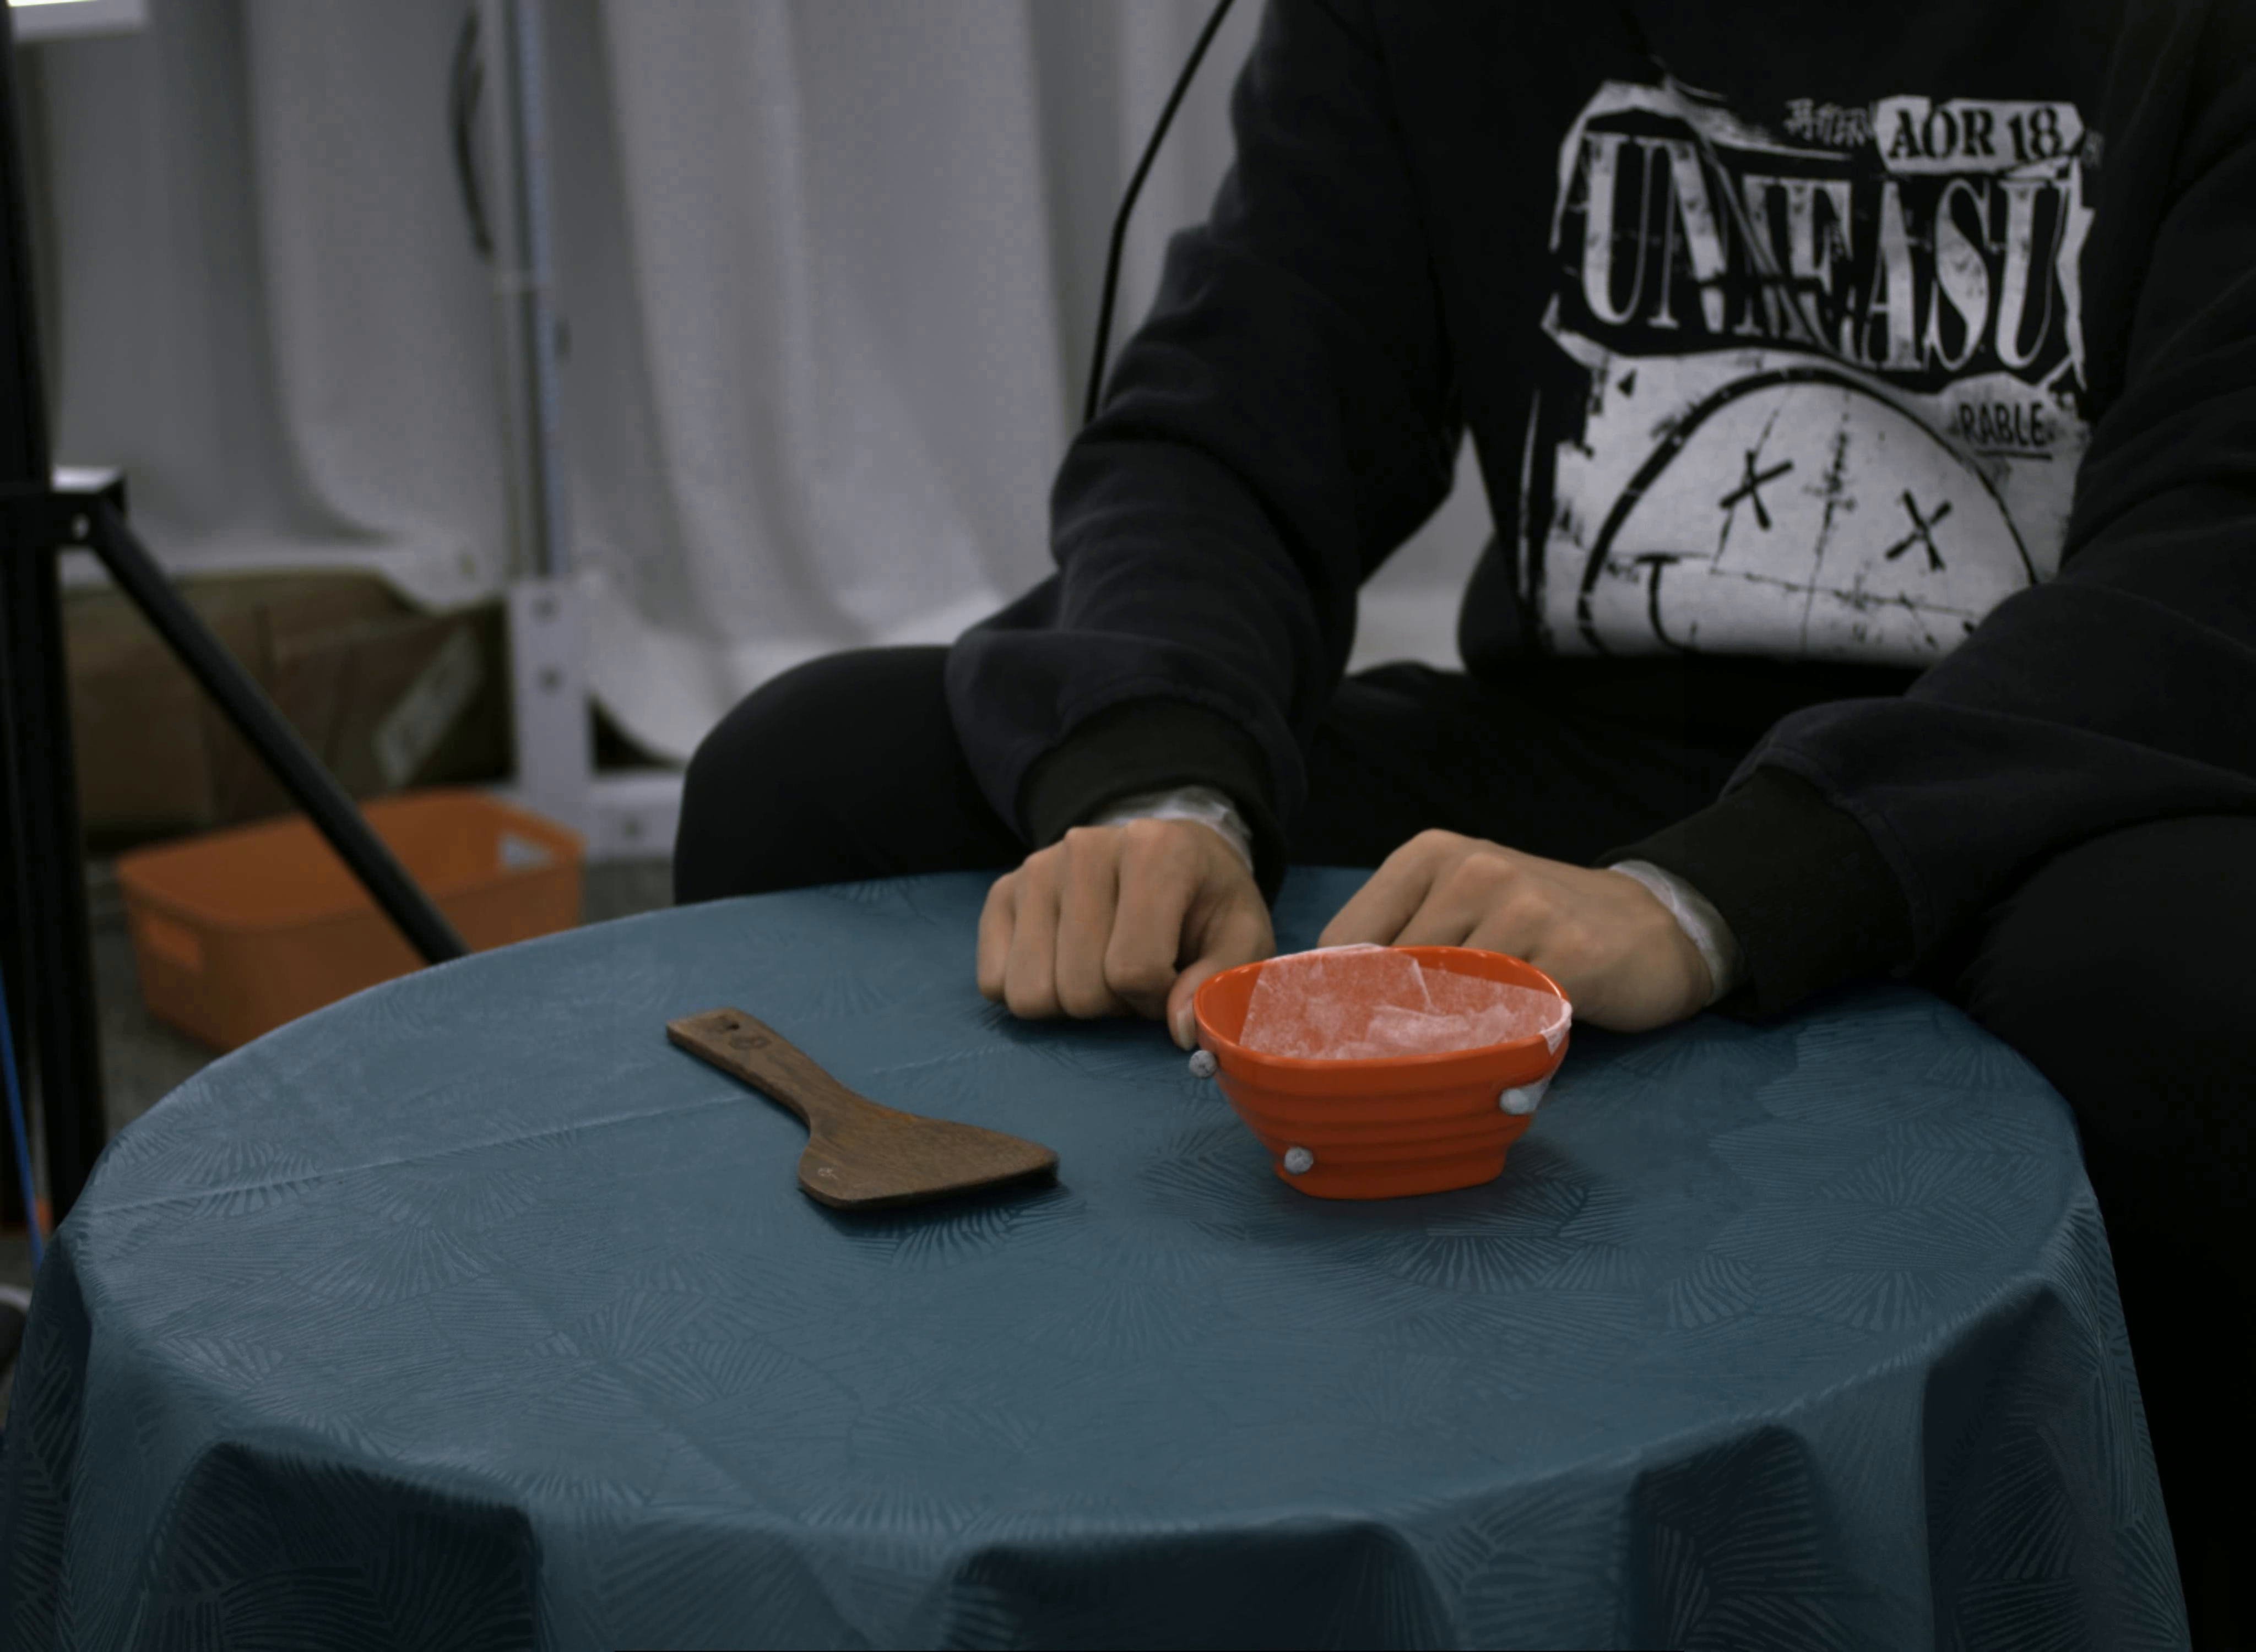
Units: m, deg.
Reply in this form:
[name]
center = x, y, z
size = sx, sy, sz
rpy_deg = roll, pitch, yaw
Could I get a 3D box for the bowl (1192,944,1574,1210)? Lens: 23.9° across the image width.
[bowl]
center = 0.076, 0.077, 1.571
size = 0.118, 0.051, 0.119
rpy_deg = -5, 17, 0

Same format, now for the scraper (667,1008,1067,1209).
[scraper]
center = -0.093, 0.086, 1.638
size = 0.074, 0.011, 0.215
rpy_deg = -9, 16, -24
